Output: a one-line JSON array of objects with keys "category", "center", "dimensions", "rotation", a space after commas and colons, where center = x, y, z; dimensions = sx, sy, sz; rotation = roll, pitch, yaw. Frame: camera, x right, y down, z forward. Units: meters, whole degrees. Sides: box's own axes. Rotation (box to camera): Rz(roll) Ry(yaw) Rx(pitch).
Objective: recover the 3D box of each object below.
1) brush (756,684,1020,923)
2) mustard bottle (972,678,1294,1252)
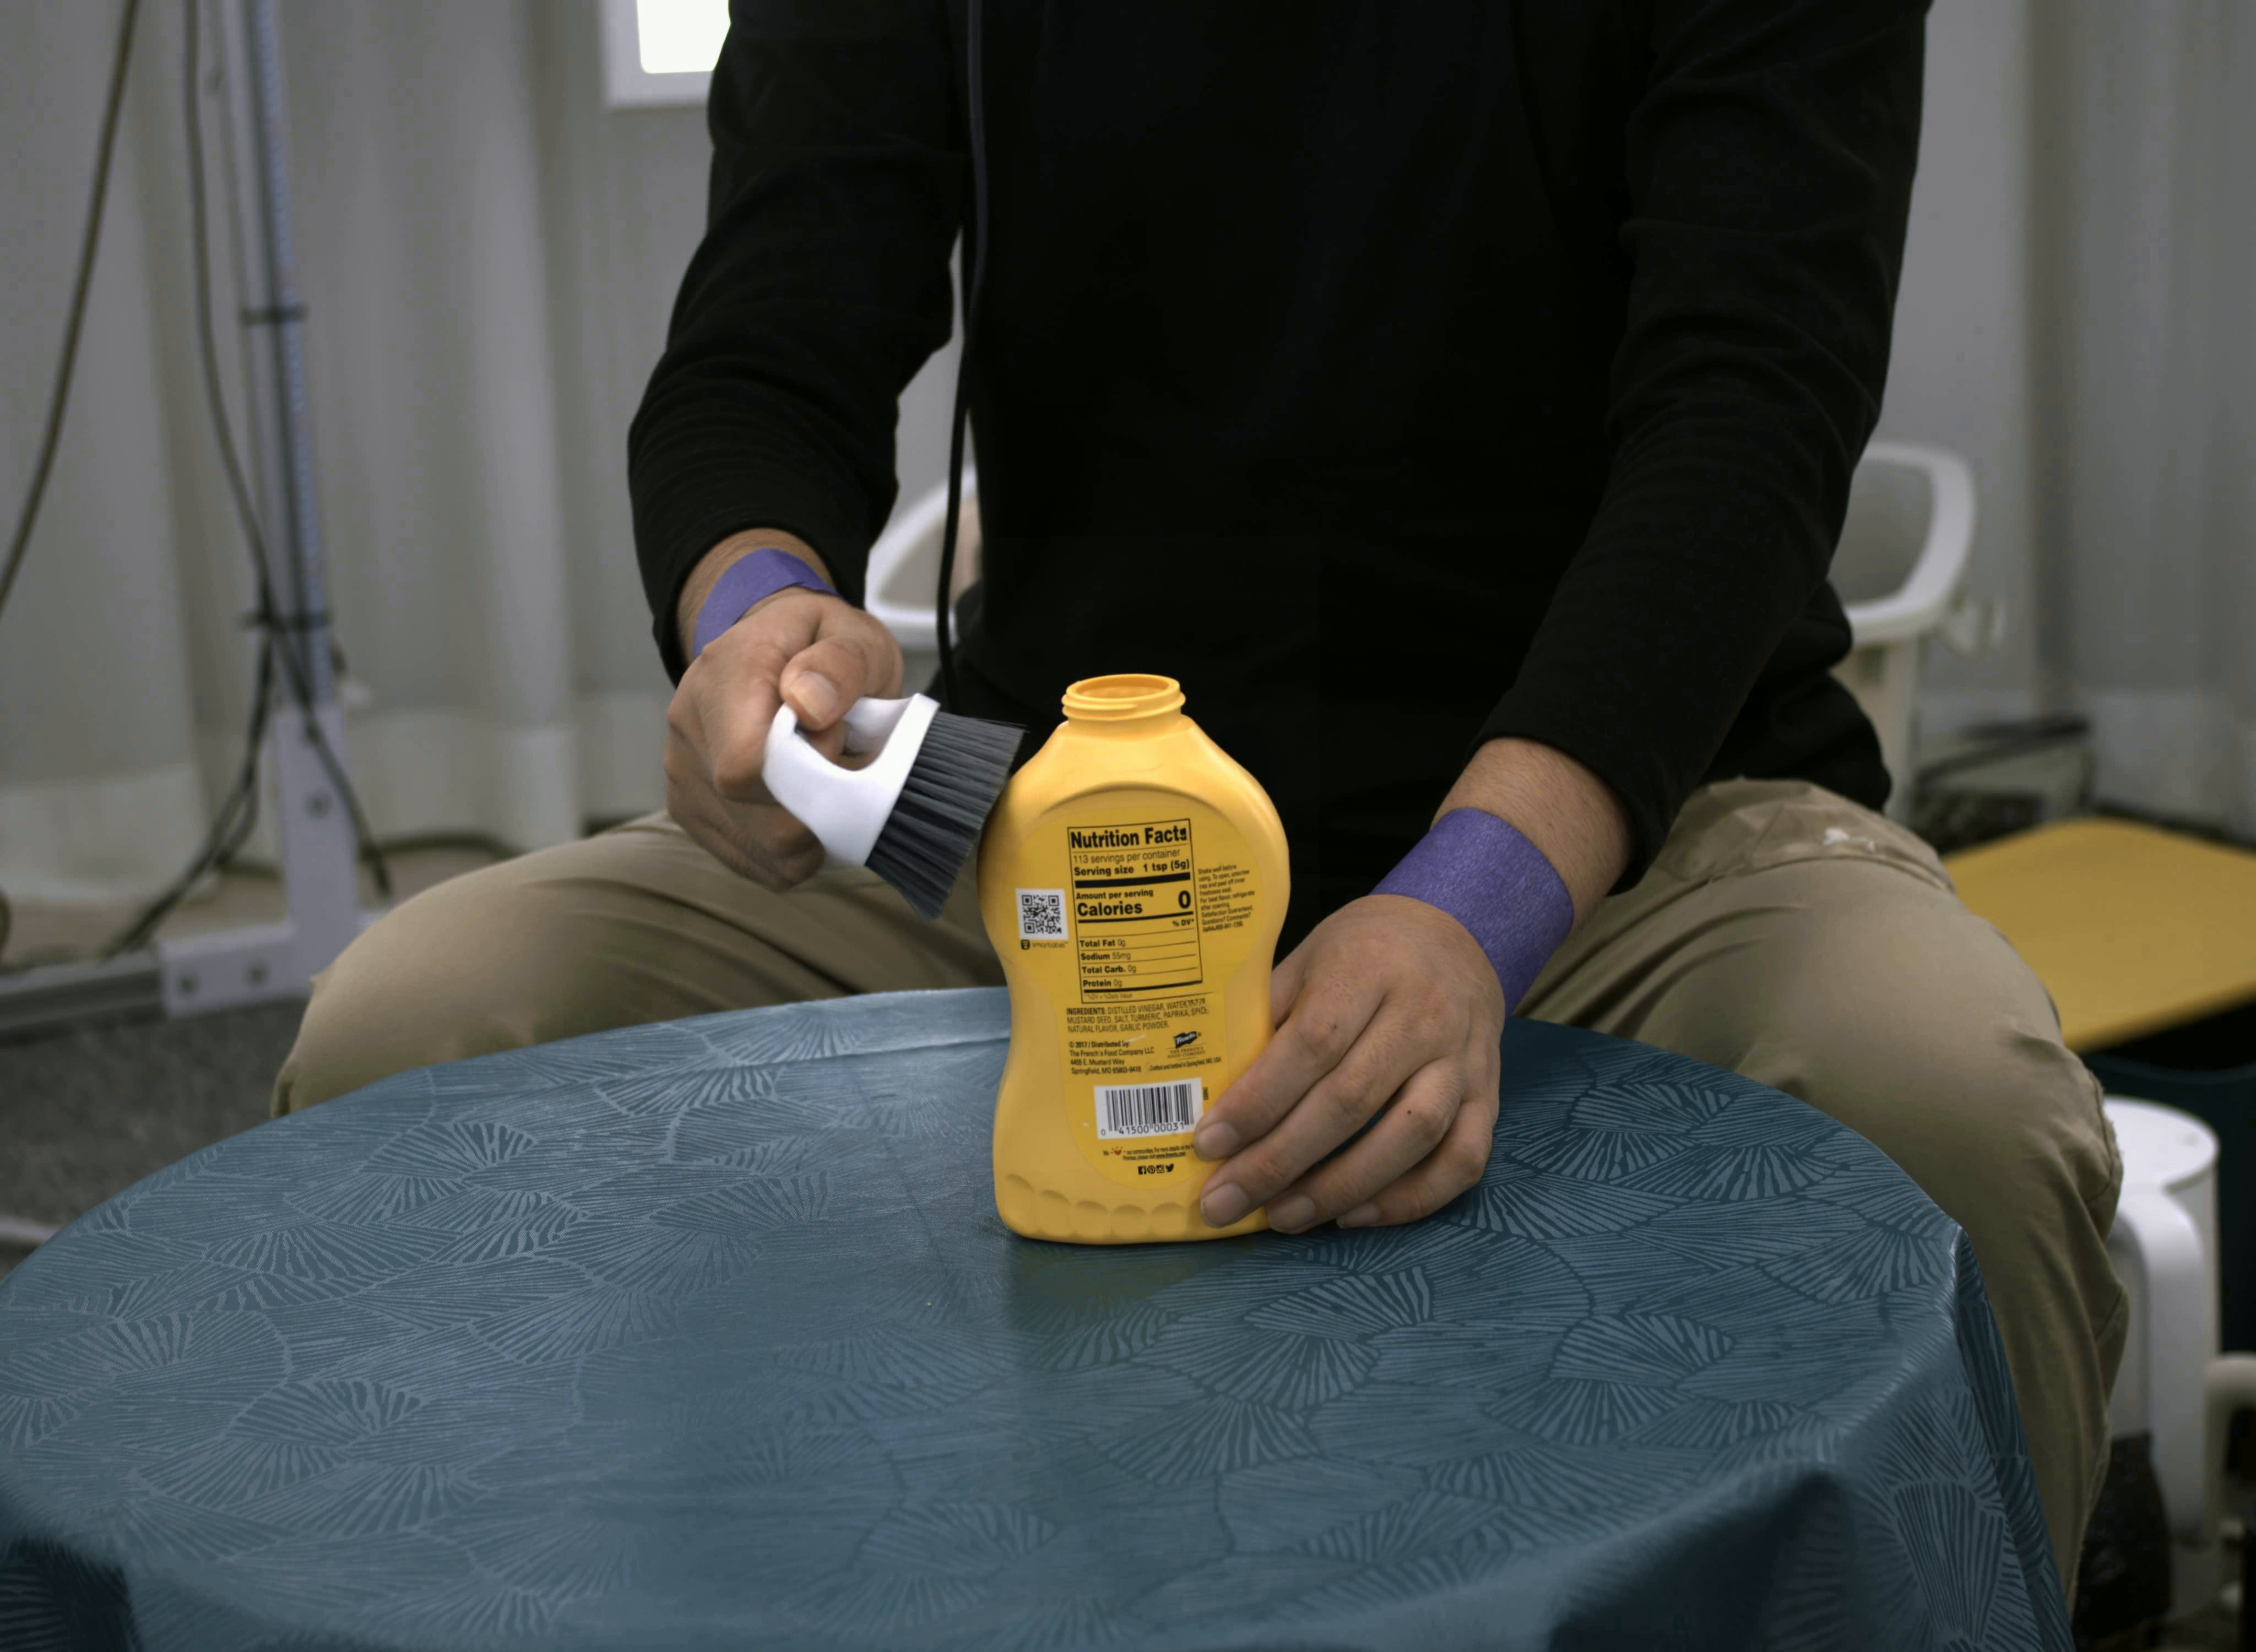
[{"category": "brush", "center": [-0.077, -0.016, 1.674], "dimensions": [0.072, 0.050, 0.100], "rotation": [26, 18, -2]}, {"category": "mustard bottle", "center": [0.000, 0.041, 1.667], "dimensions": [0.098, 0.171, 0.059], "rotation": [-4, 10, -1]}]
